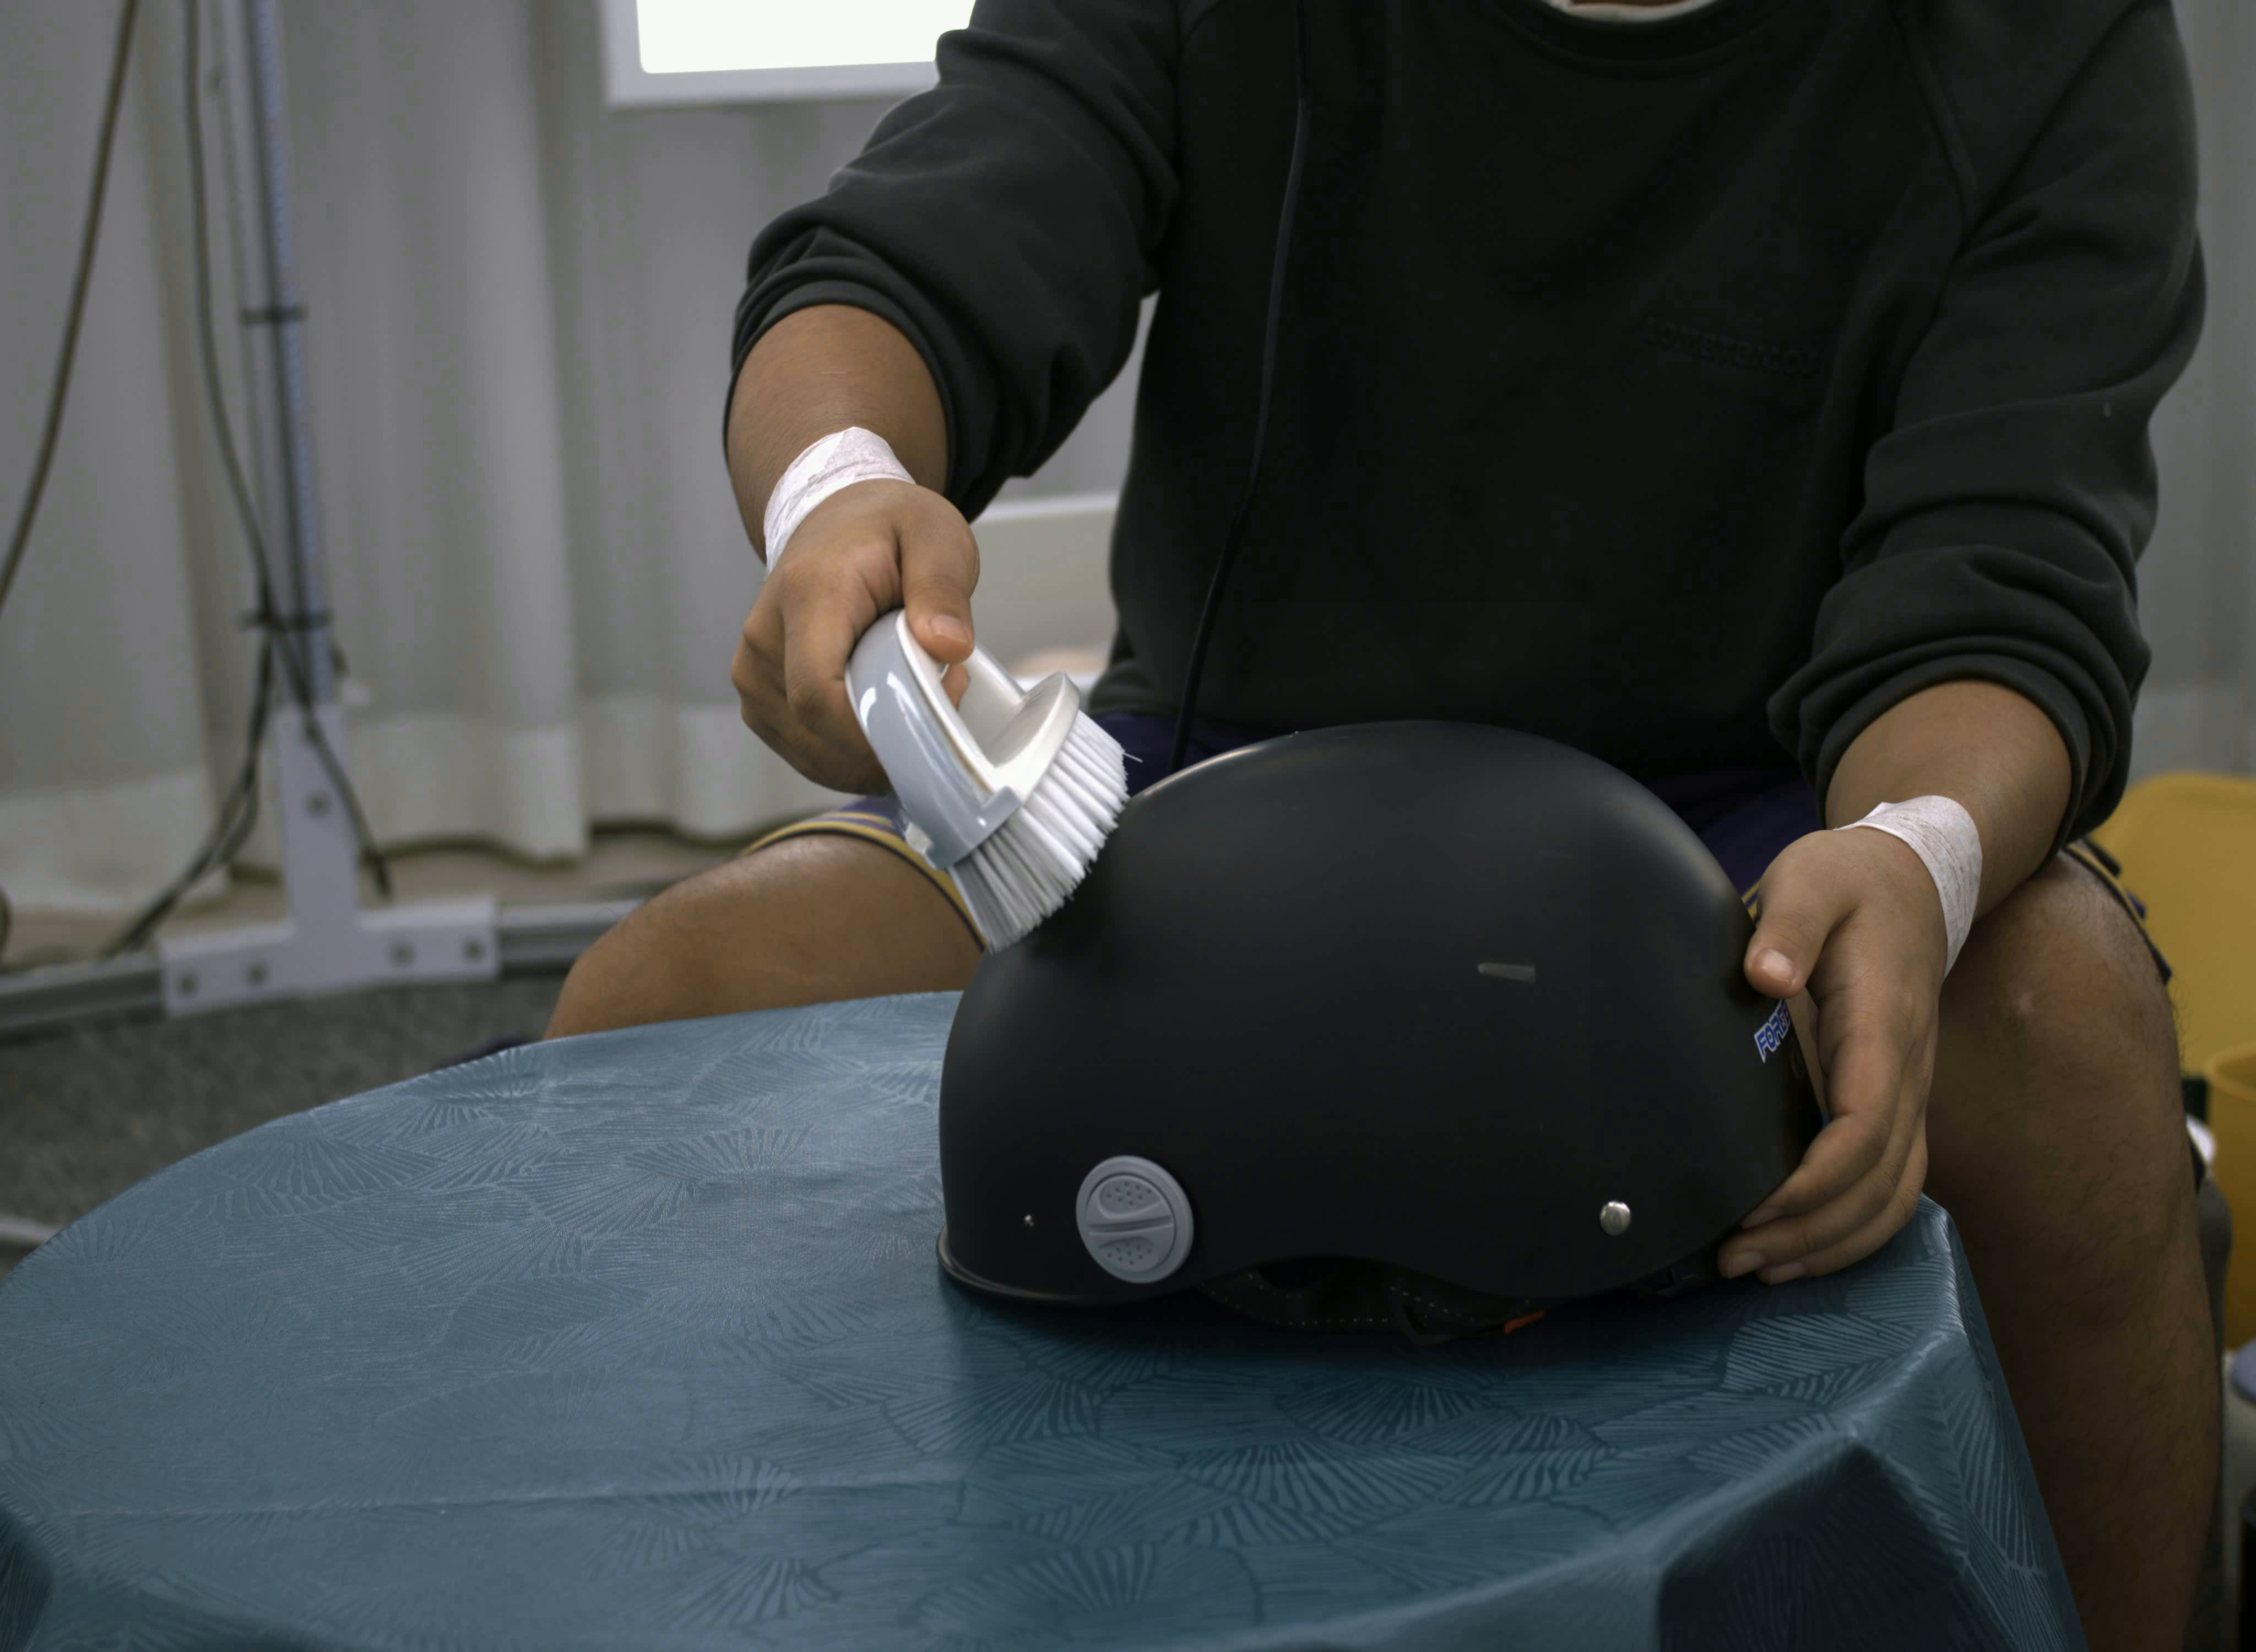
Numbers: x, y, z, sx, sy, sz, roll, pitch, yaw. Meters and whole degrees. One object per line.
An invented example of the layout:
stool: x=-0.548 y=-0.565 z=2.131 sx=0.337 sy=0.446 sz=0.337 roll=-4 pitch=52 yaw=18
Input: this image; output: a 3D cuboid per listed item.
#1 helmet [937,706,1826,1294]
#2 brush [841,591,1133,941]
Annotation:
helmet: x=0.070 y=0.049 z=1.639 sx=0.273 sy=0.166 sz=0.230 roll=0 pitch=14 yaw=20
brush: x=-0.047 y=-0.023 z=1.625 sx=0.061 sy=0.094 sz=0.177 roll=-41 pitch=10 yaw=13
